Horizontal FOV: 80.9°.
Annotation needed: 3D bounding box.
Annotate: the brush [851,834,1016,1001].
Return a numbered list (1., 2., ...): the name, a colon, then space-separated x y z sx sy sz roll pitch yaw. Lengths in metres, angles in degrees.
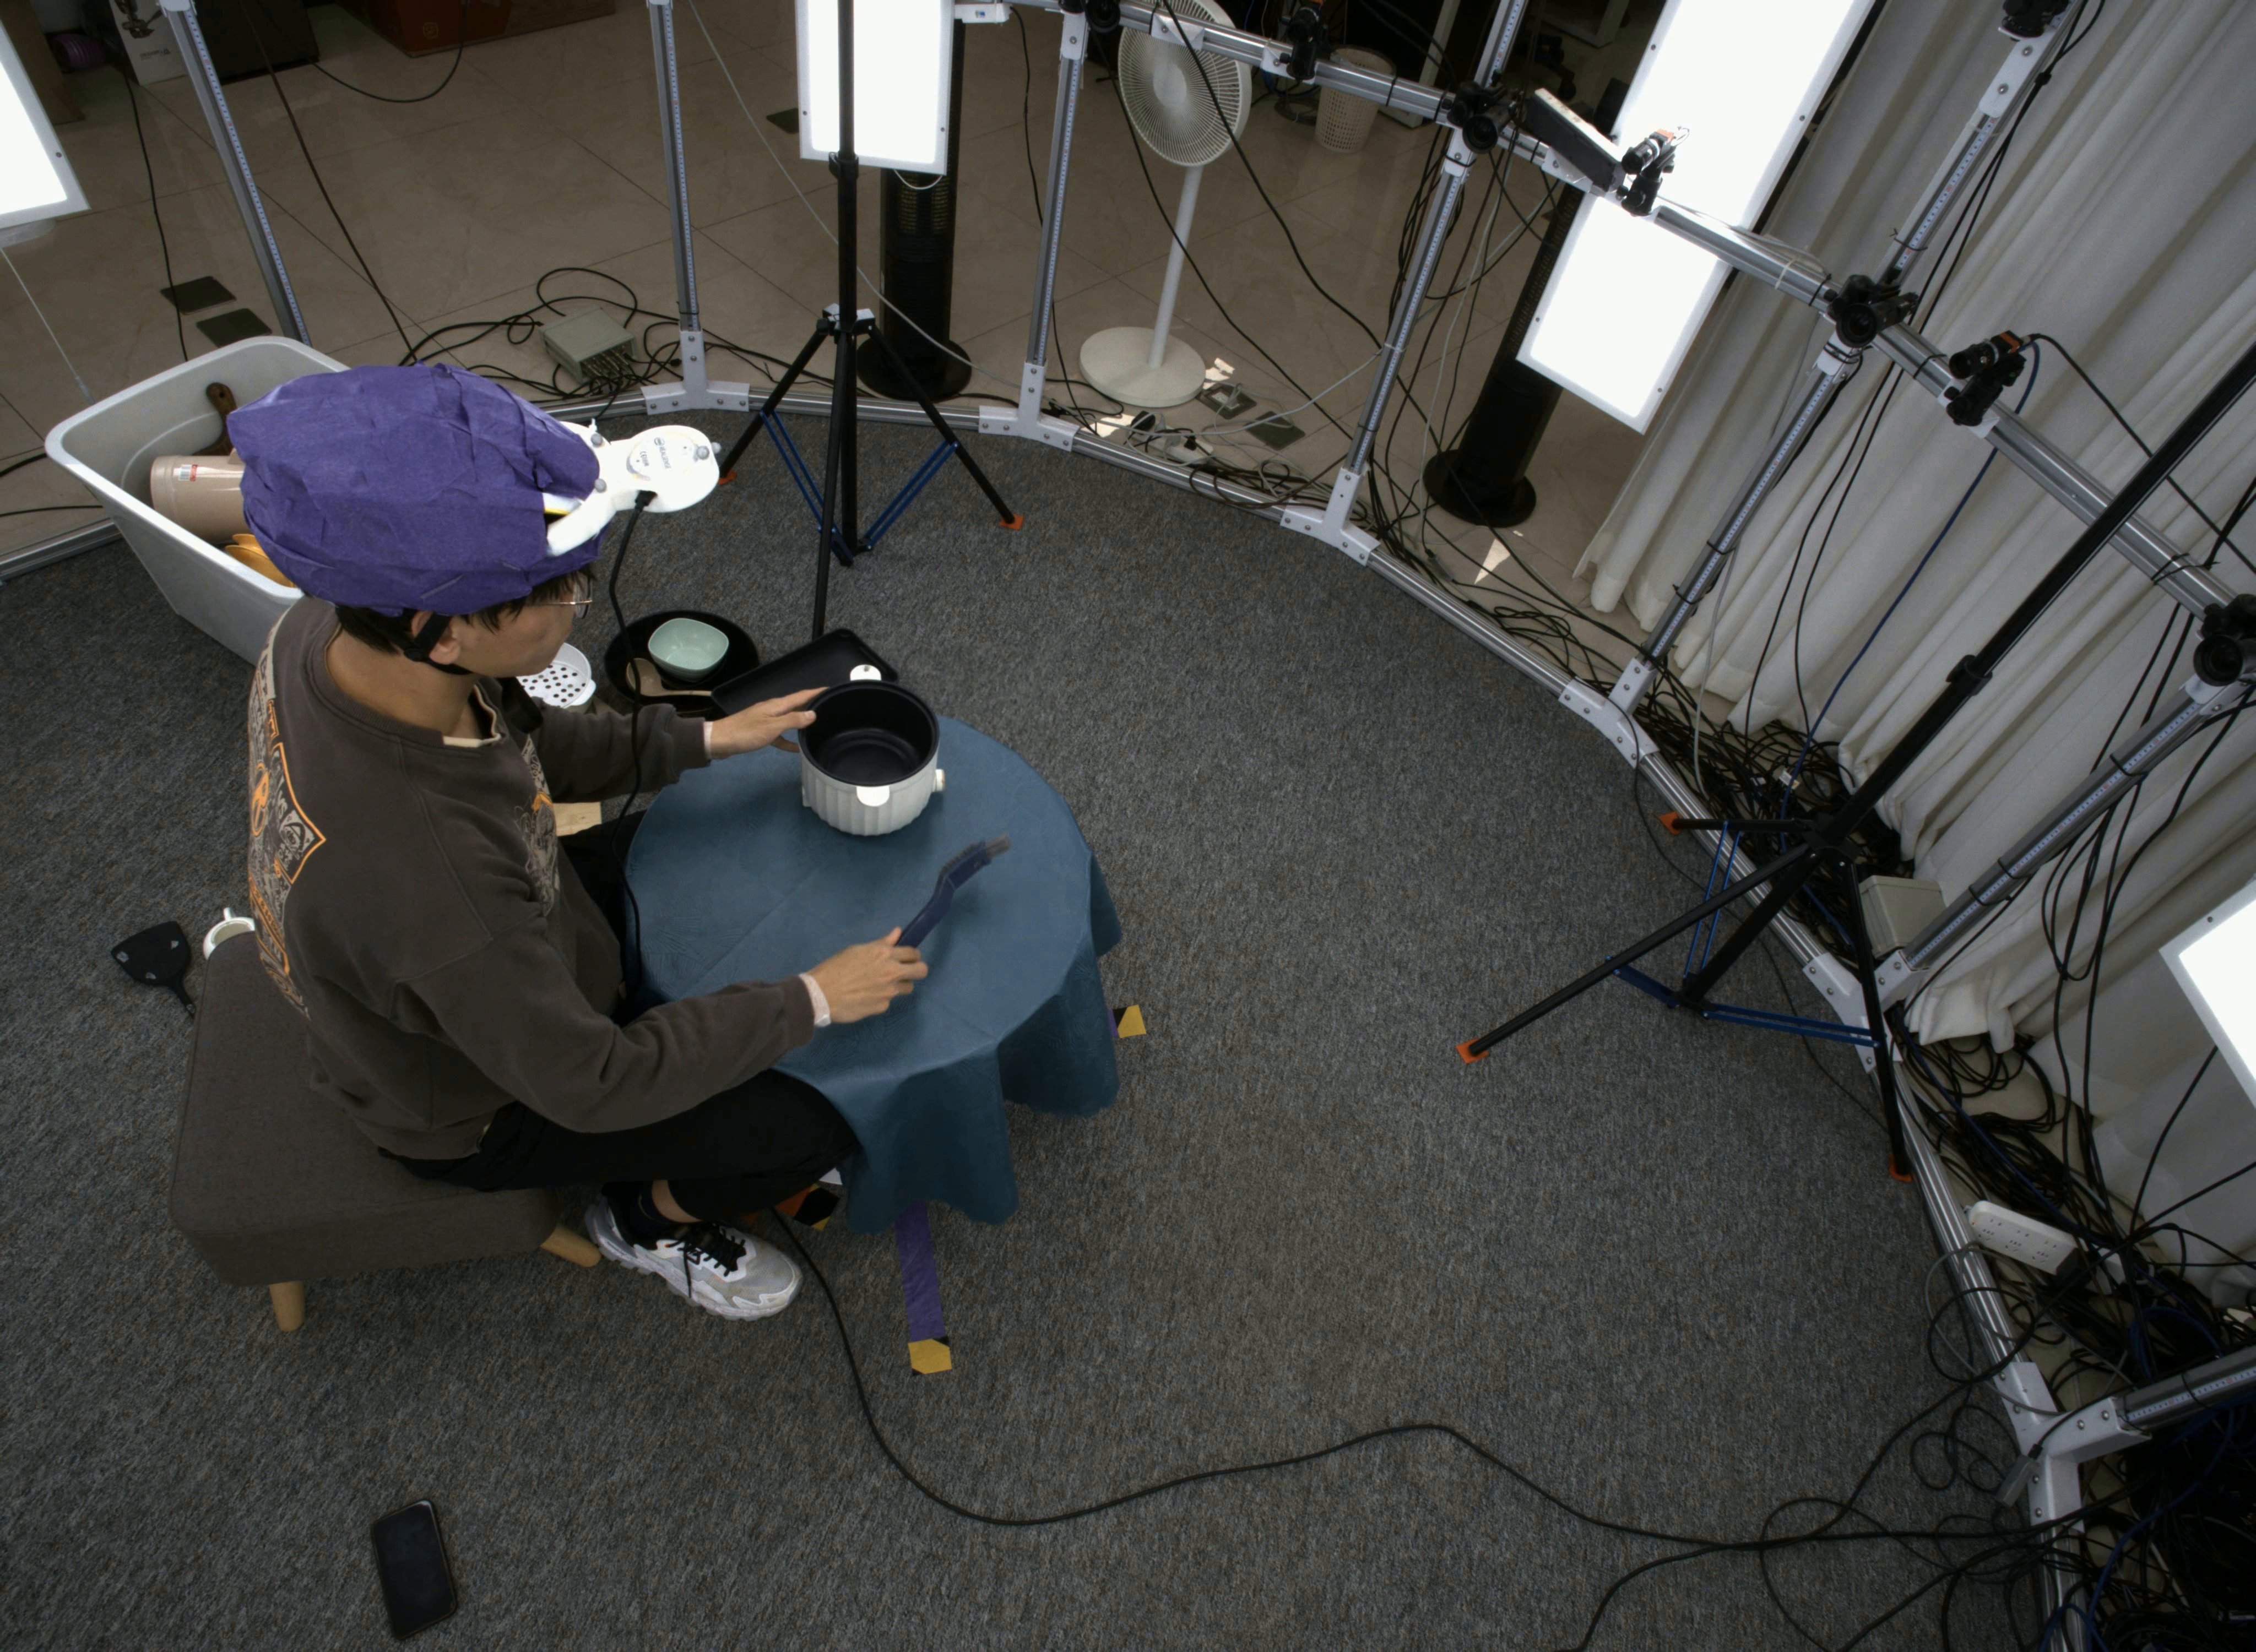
1. brush: -0.239 0.105 1.606 0.093 0.035 0.271 -2 40 35

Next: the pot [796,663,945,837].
1. pot: -0.340 -0.086 1.732 0.190 0.146 0.235 -5 56 -12
